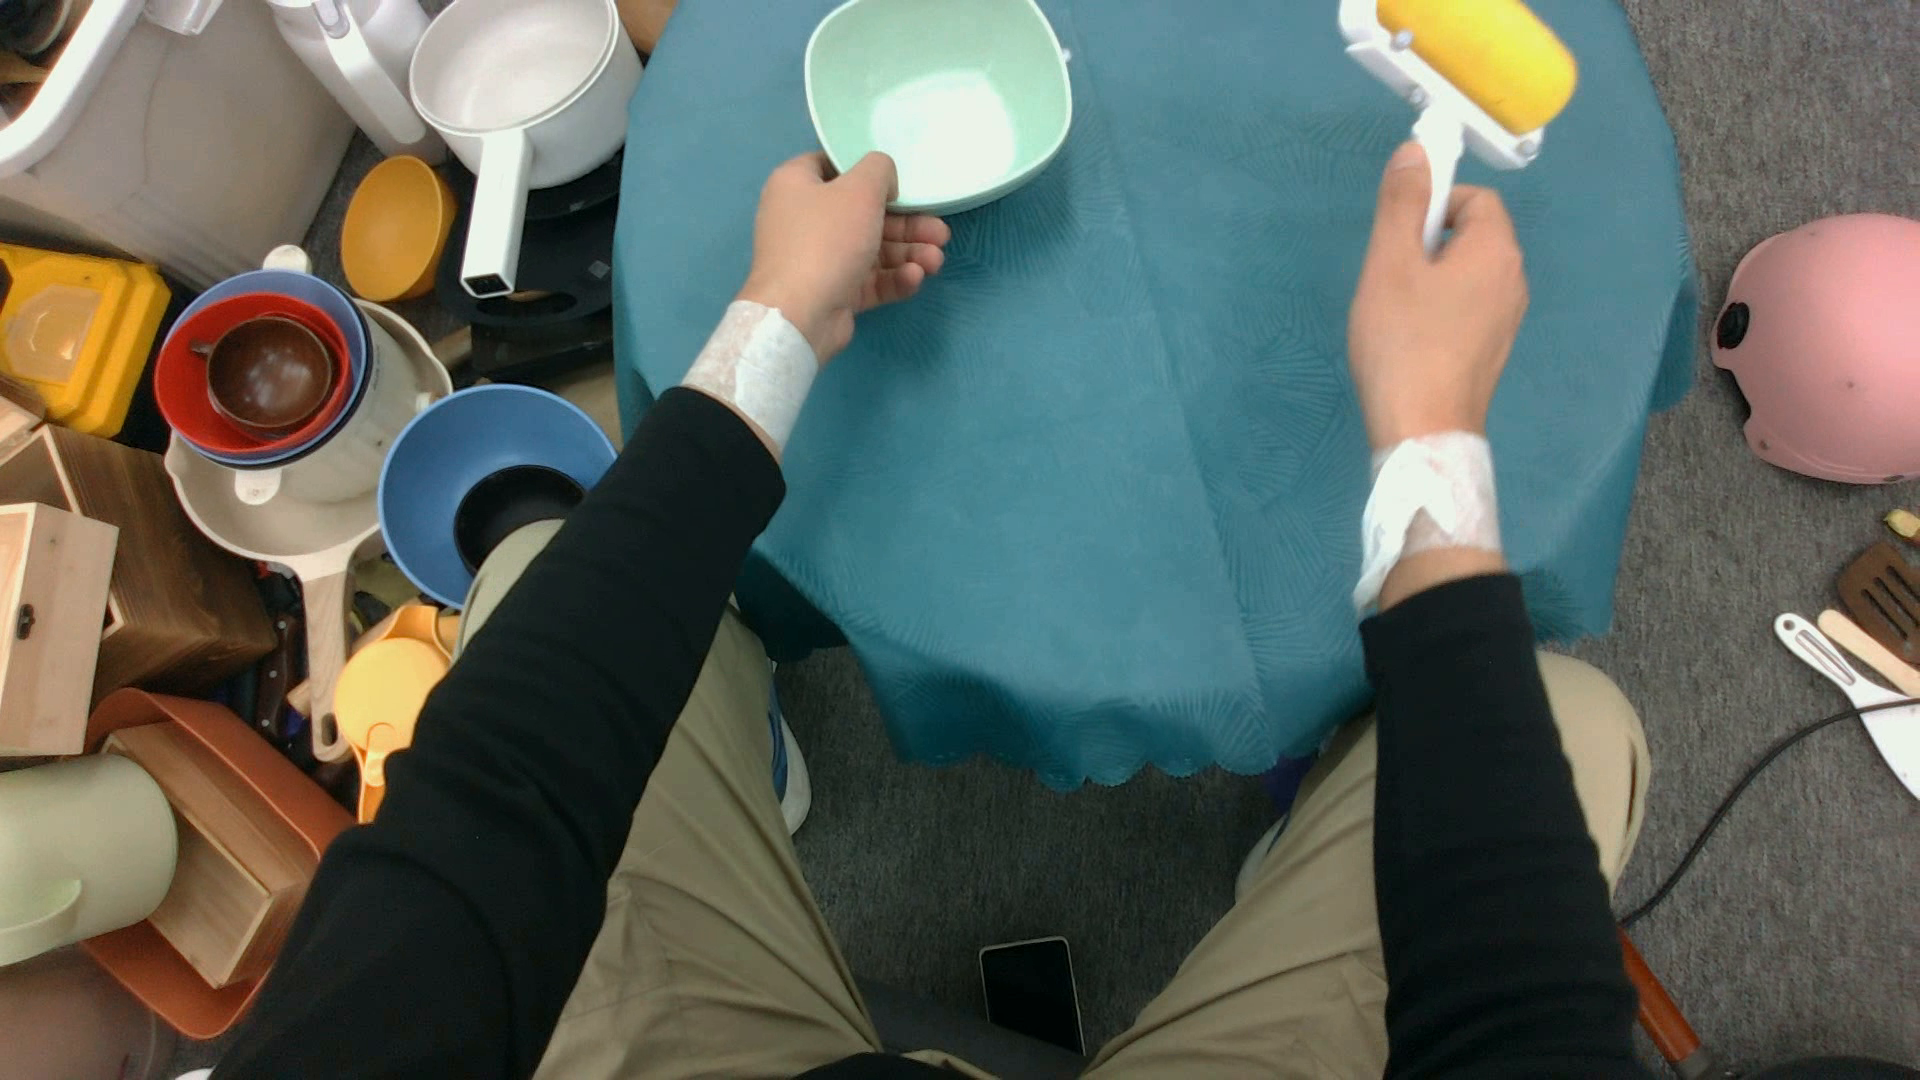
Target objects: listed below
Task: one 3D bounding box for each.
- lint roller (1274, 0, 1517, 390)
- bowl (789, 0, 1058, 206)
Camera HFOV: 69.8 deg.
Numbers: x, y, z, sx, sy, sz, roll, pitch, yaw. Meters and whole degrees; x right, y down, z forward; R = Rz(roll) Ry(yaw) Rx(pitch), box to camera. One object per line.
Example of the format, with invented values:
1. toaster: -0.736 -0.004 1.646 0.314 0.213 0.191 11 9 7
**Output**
1. lint roller: 0.209 -0.167 0.637 0.051 0.174 0.192 -11 77 42
2. bowl: -0.019 -0.240 0.763 0.151 0.058 0.152 -1 71 2
